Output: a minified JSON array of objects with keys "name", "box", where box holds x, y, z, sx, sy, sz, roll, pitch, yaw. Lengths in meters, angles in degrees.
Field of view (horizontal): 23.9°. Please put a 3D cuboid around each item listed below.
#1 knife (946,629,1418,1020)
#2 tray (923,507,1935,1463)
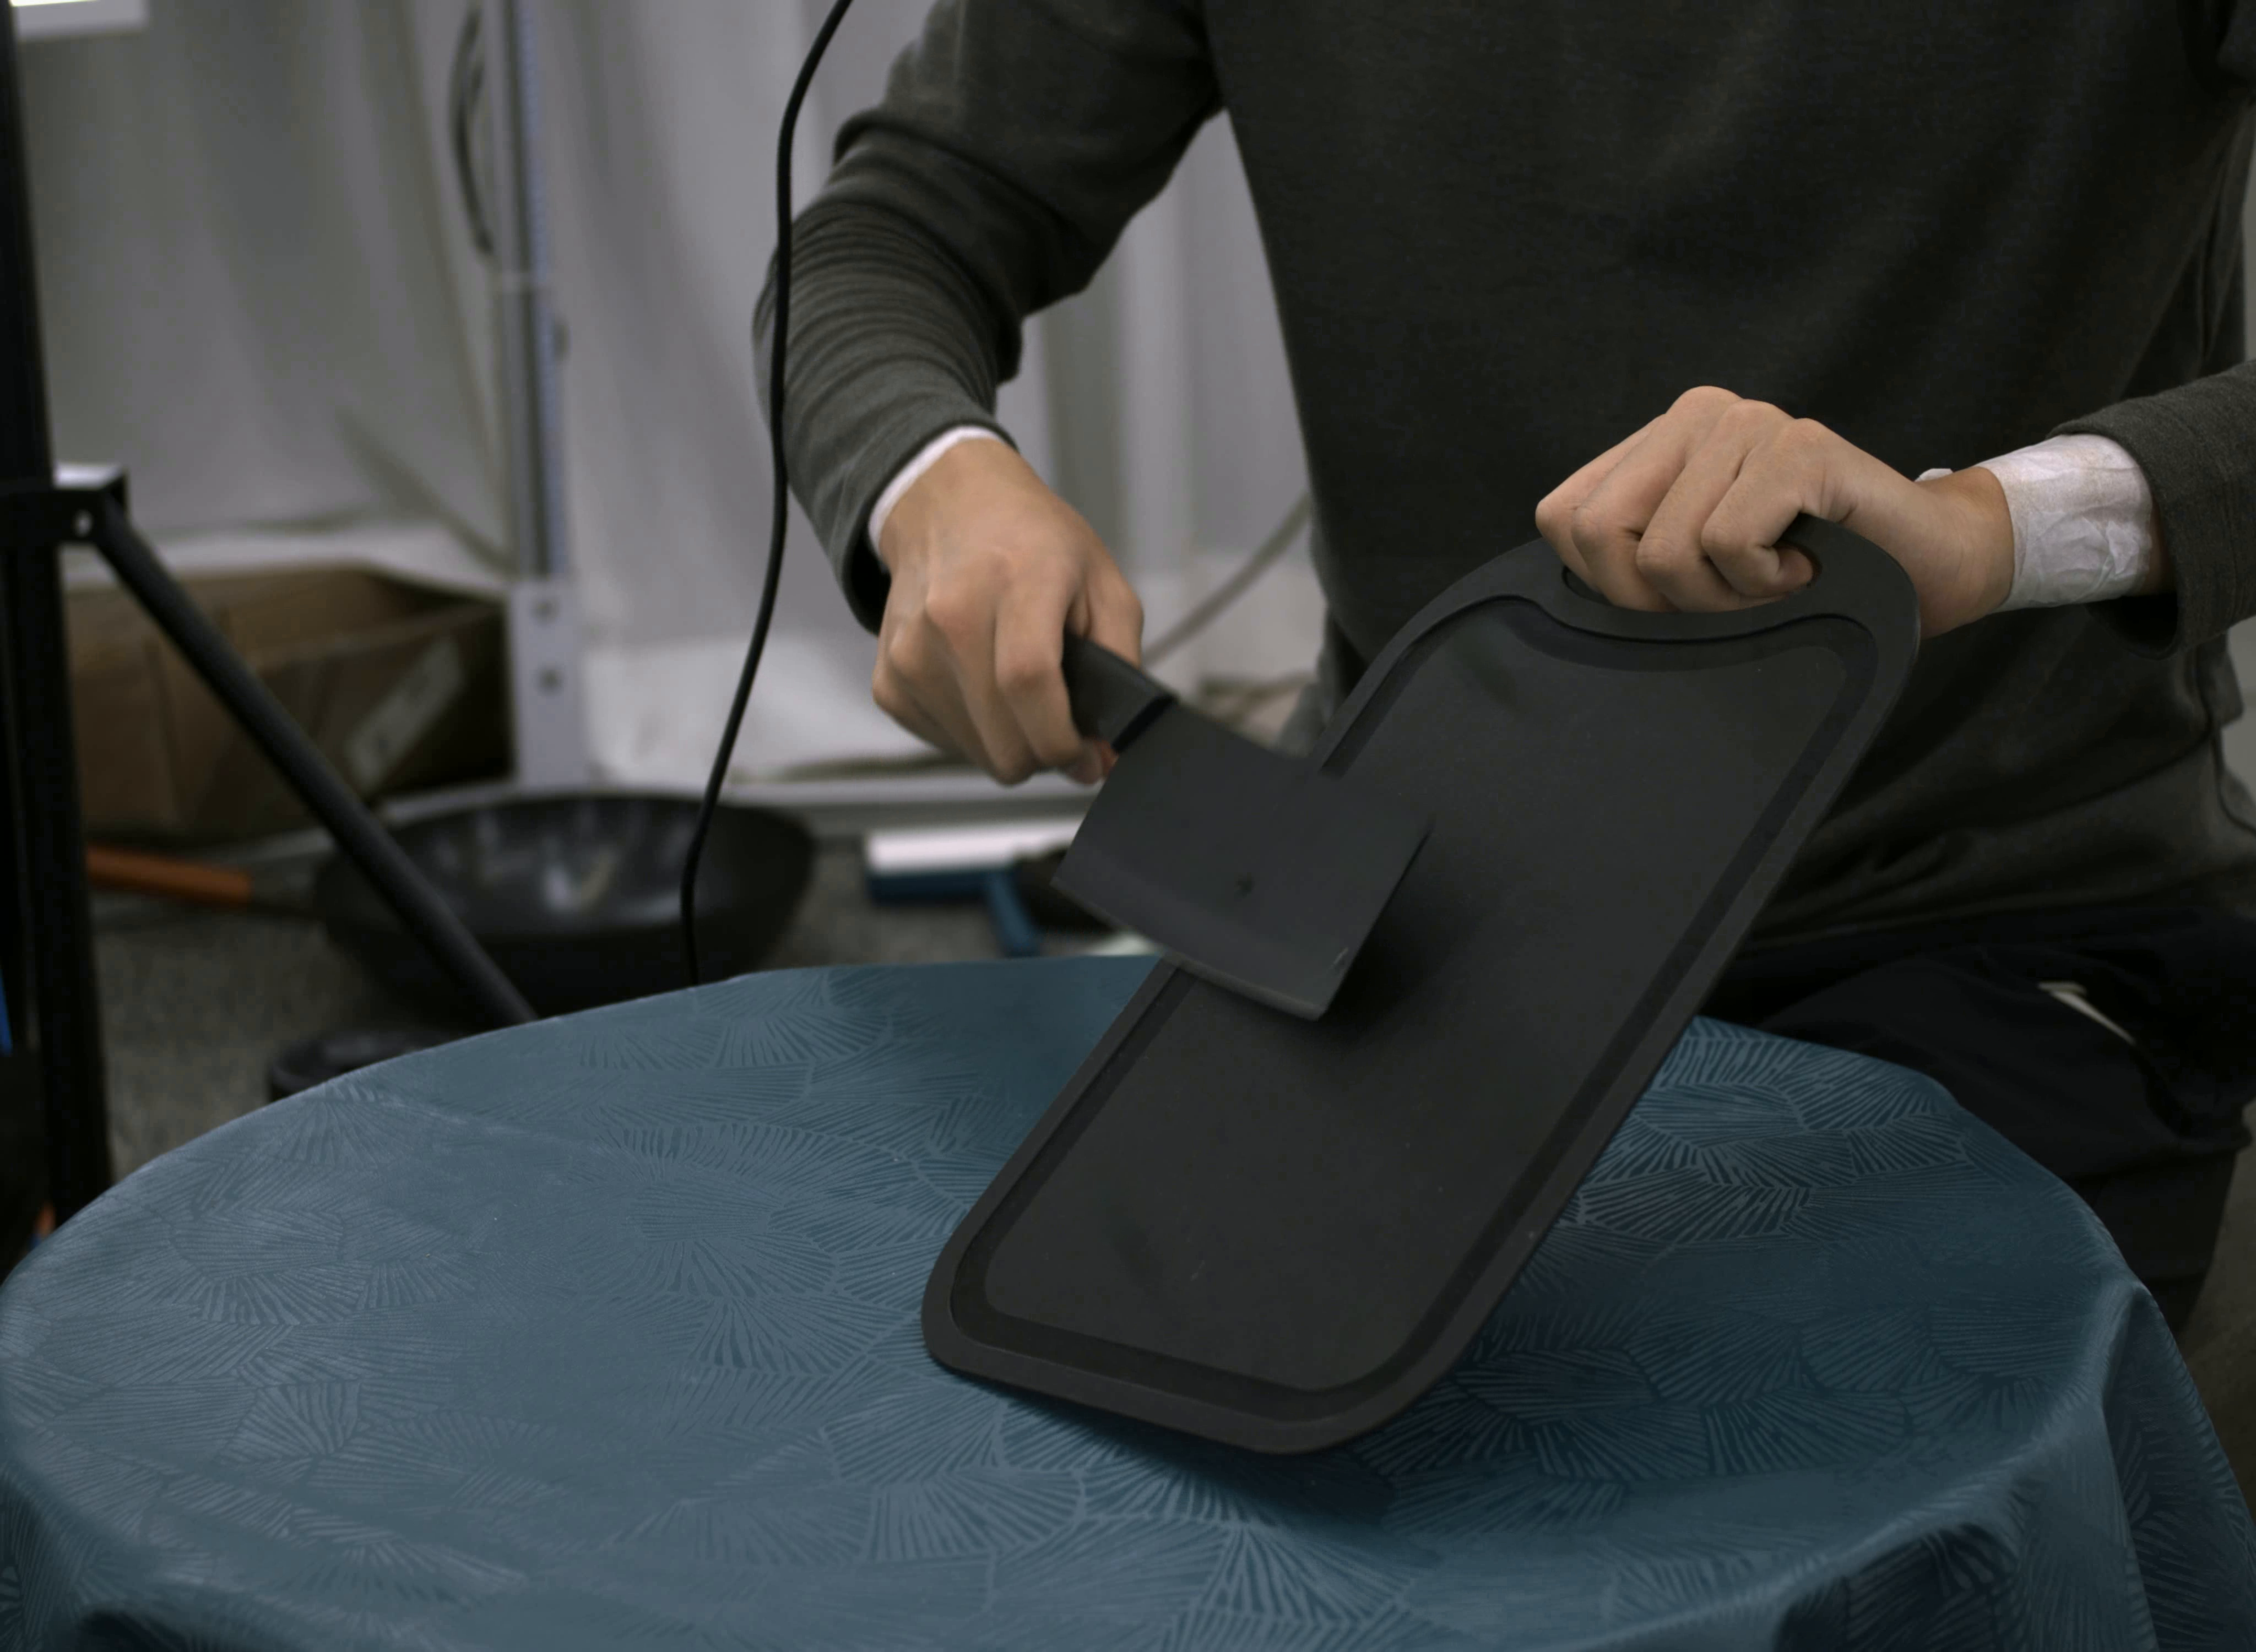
[{"name":"knife","box":[0.006,-0.007,1.560,0.020,0.081,0.308,32,3,-26]},{"name":"tray","box":[0.083,0.032,1.435,0.216,0.009,0.324,9,55,52]}]
